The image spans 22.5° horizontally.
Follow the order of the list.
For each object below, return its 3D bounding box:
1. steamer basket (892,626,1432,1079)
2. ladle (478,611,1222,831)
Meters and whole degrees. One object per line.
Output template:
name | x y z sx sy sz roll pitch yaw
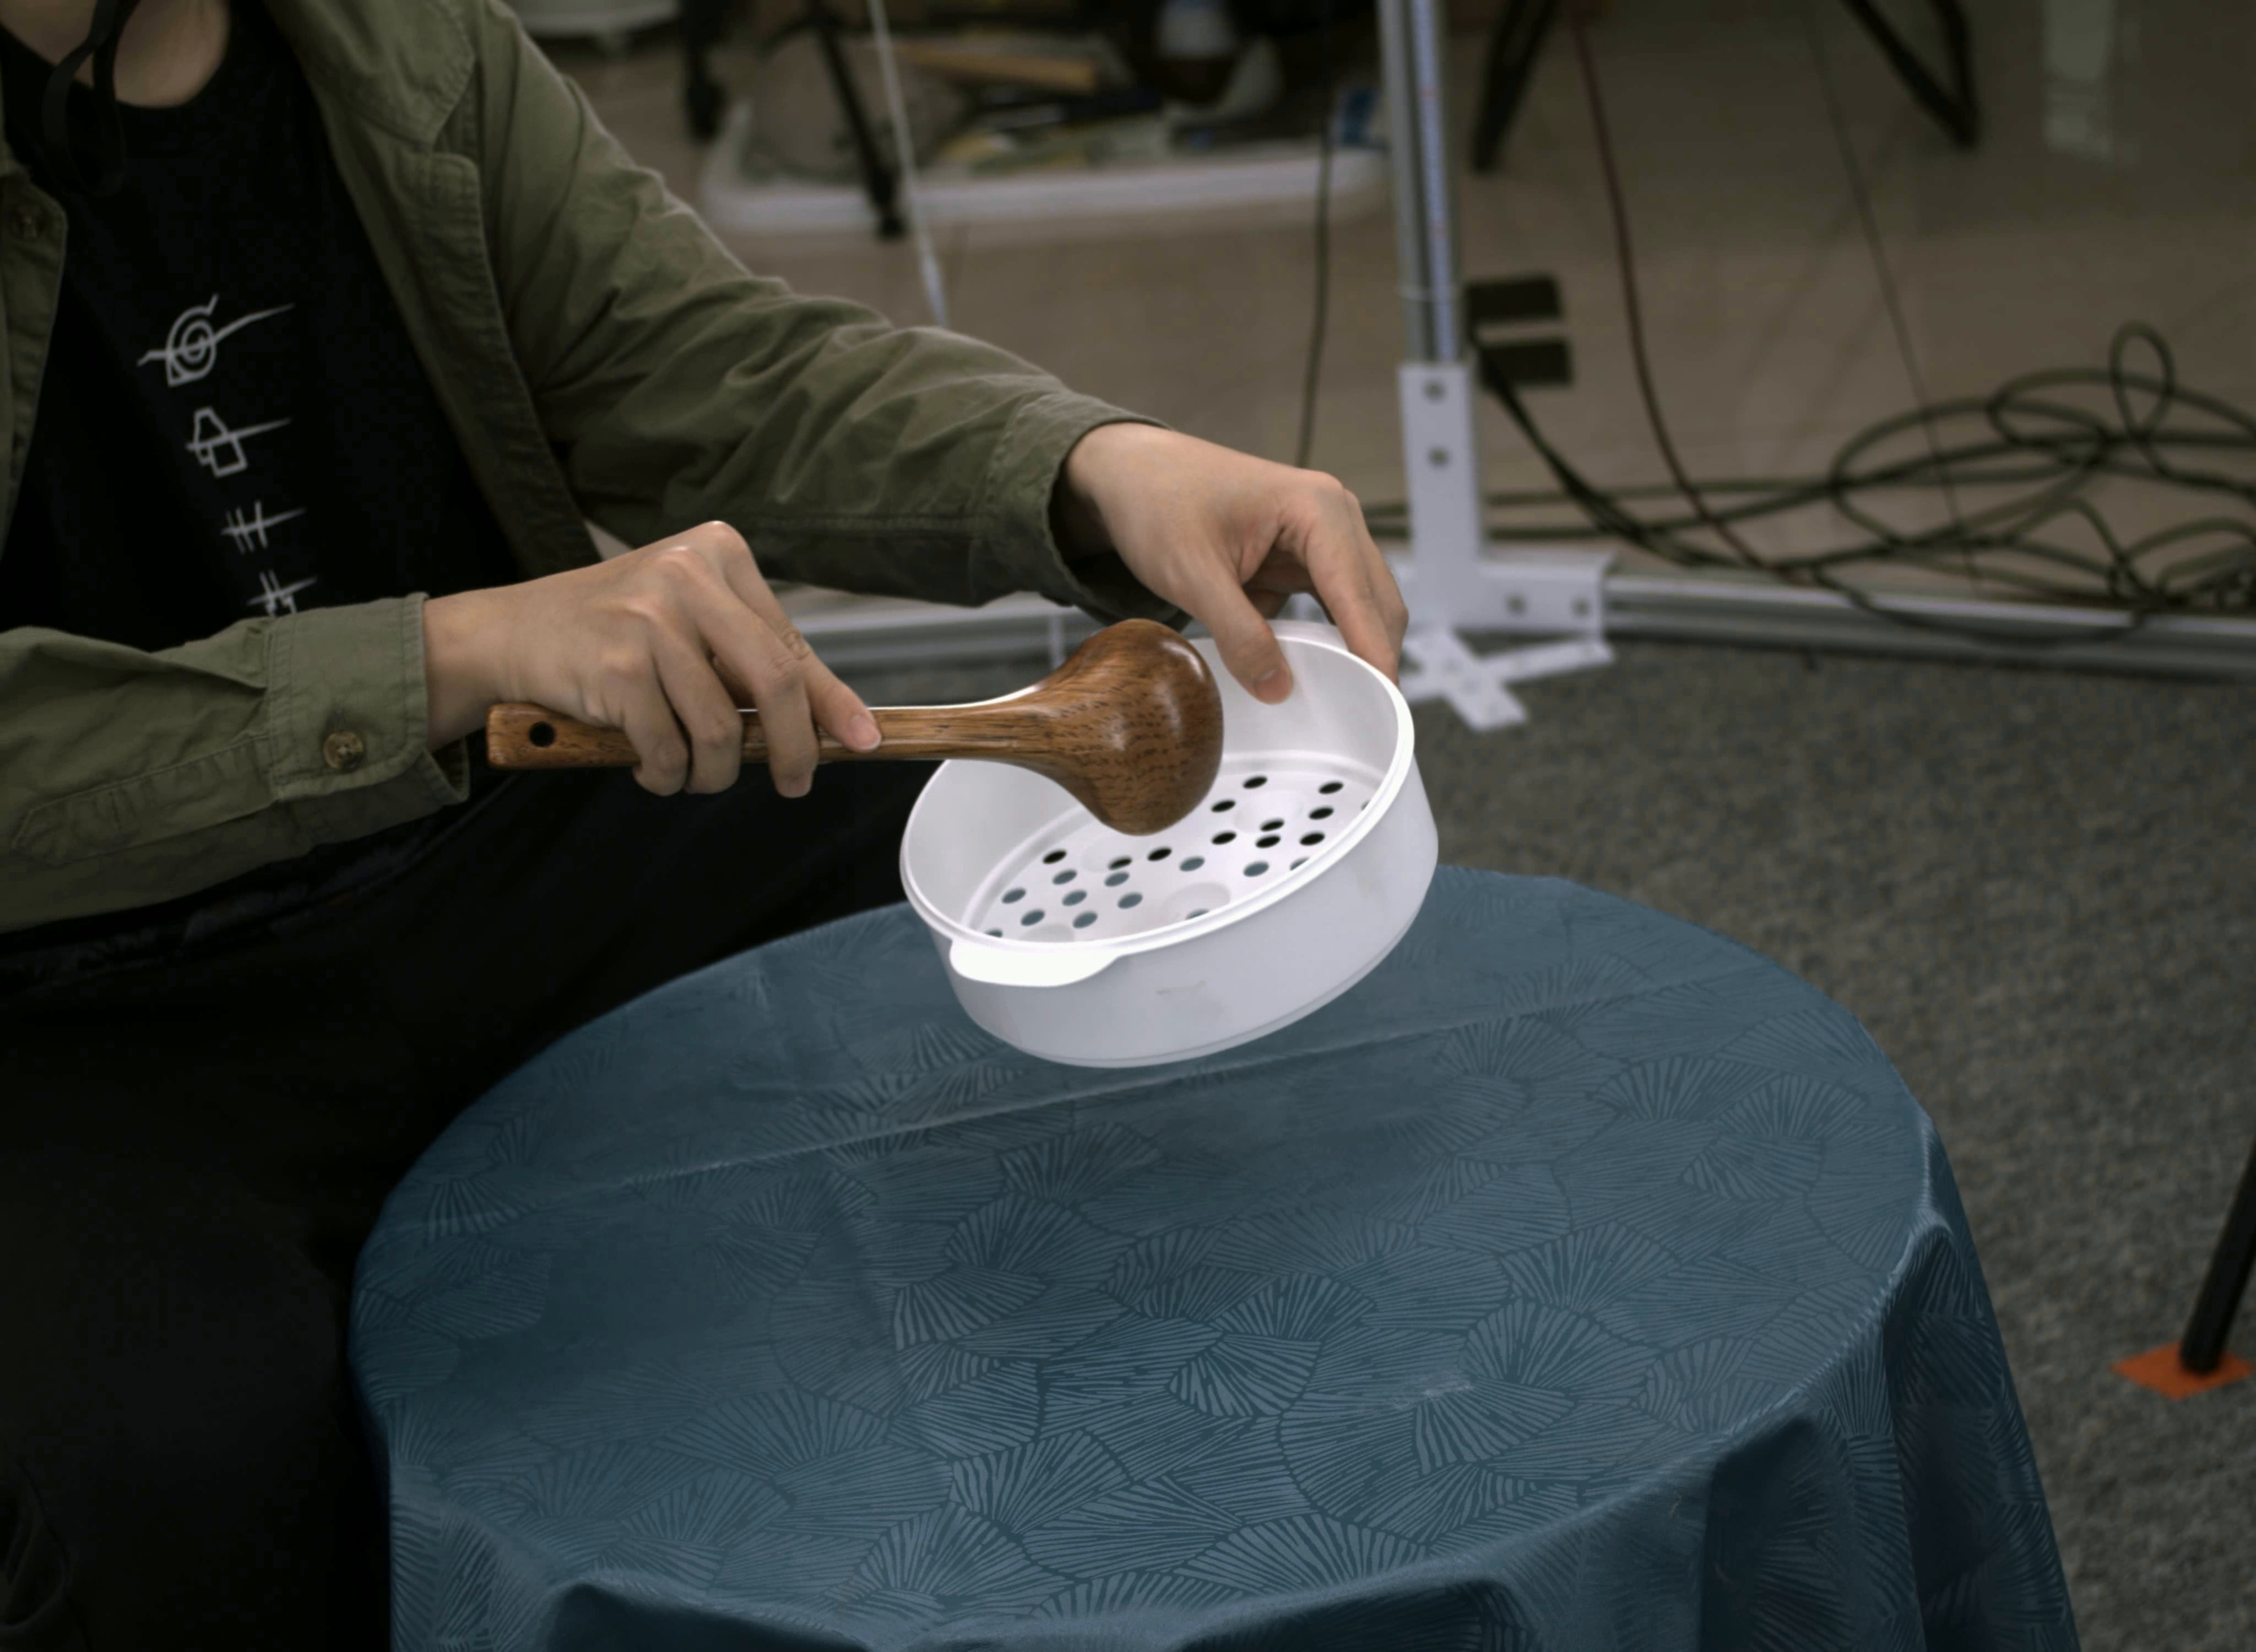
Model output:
steamer basket | 0.015 0.013 2.134 0.201 0.070 0.227 6 41 33
ladle | -0.101 -0.037 2.095 0.273 0.082 0.077 -2 -4 -3
